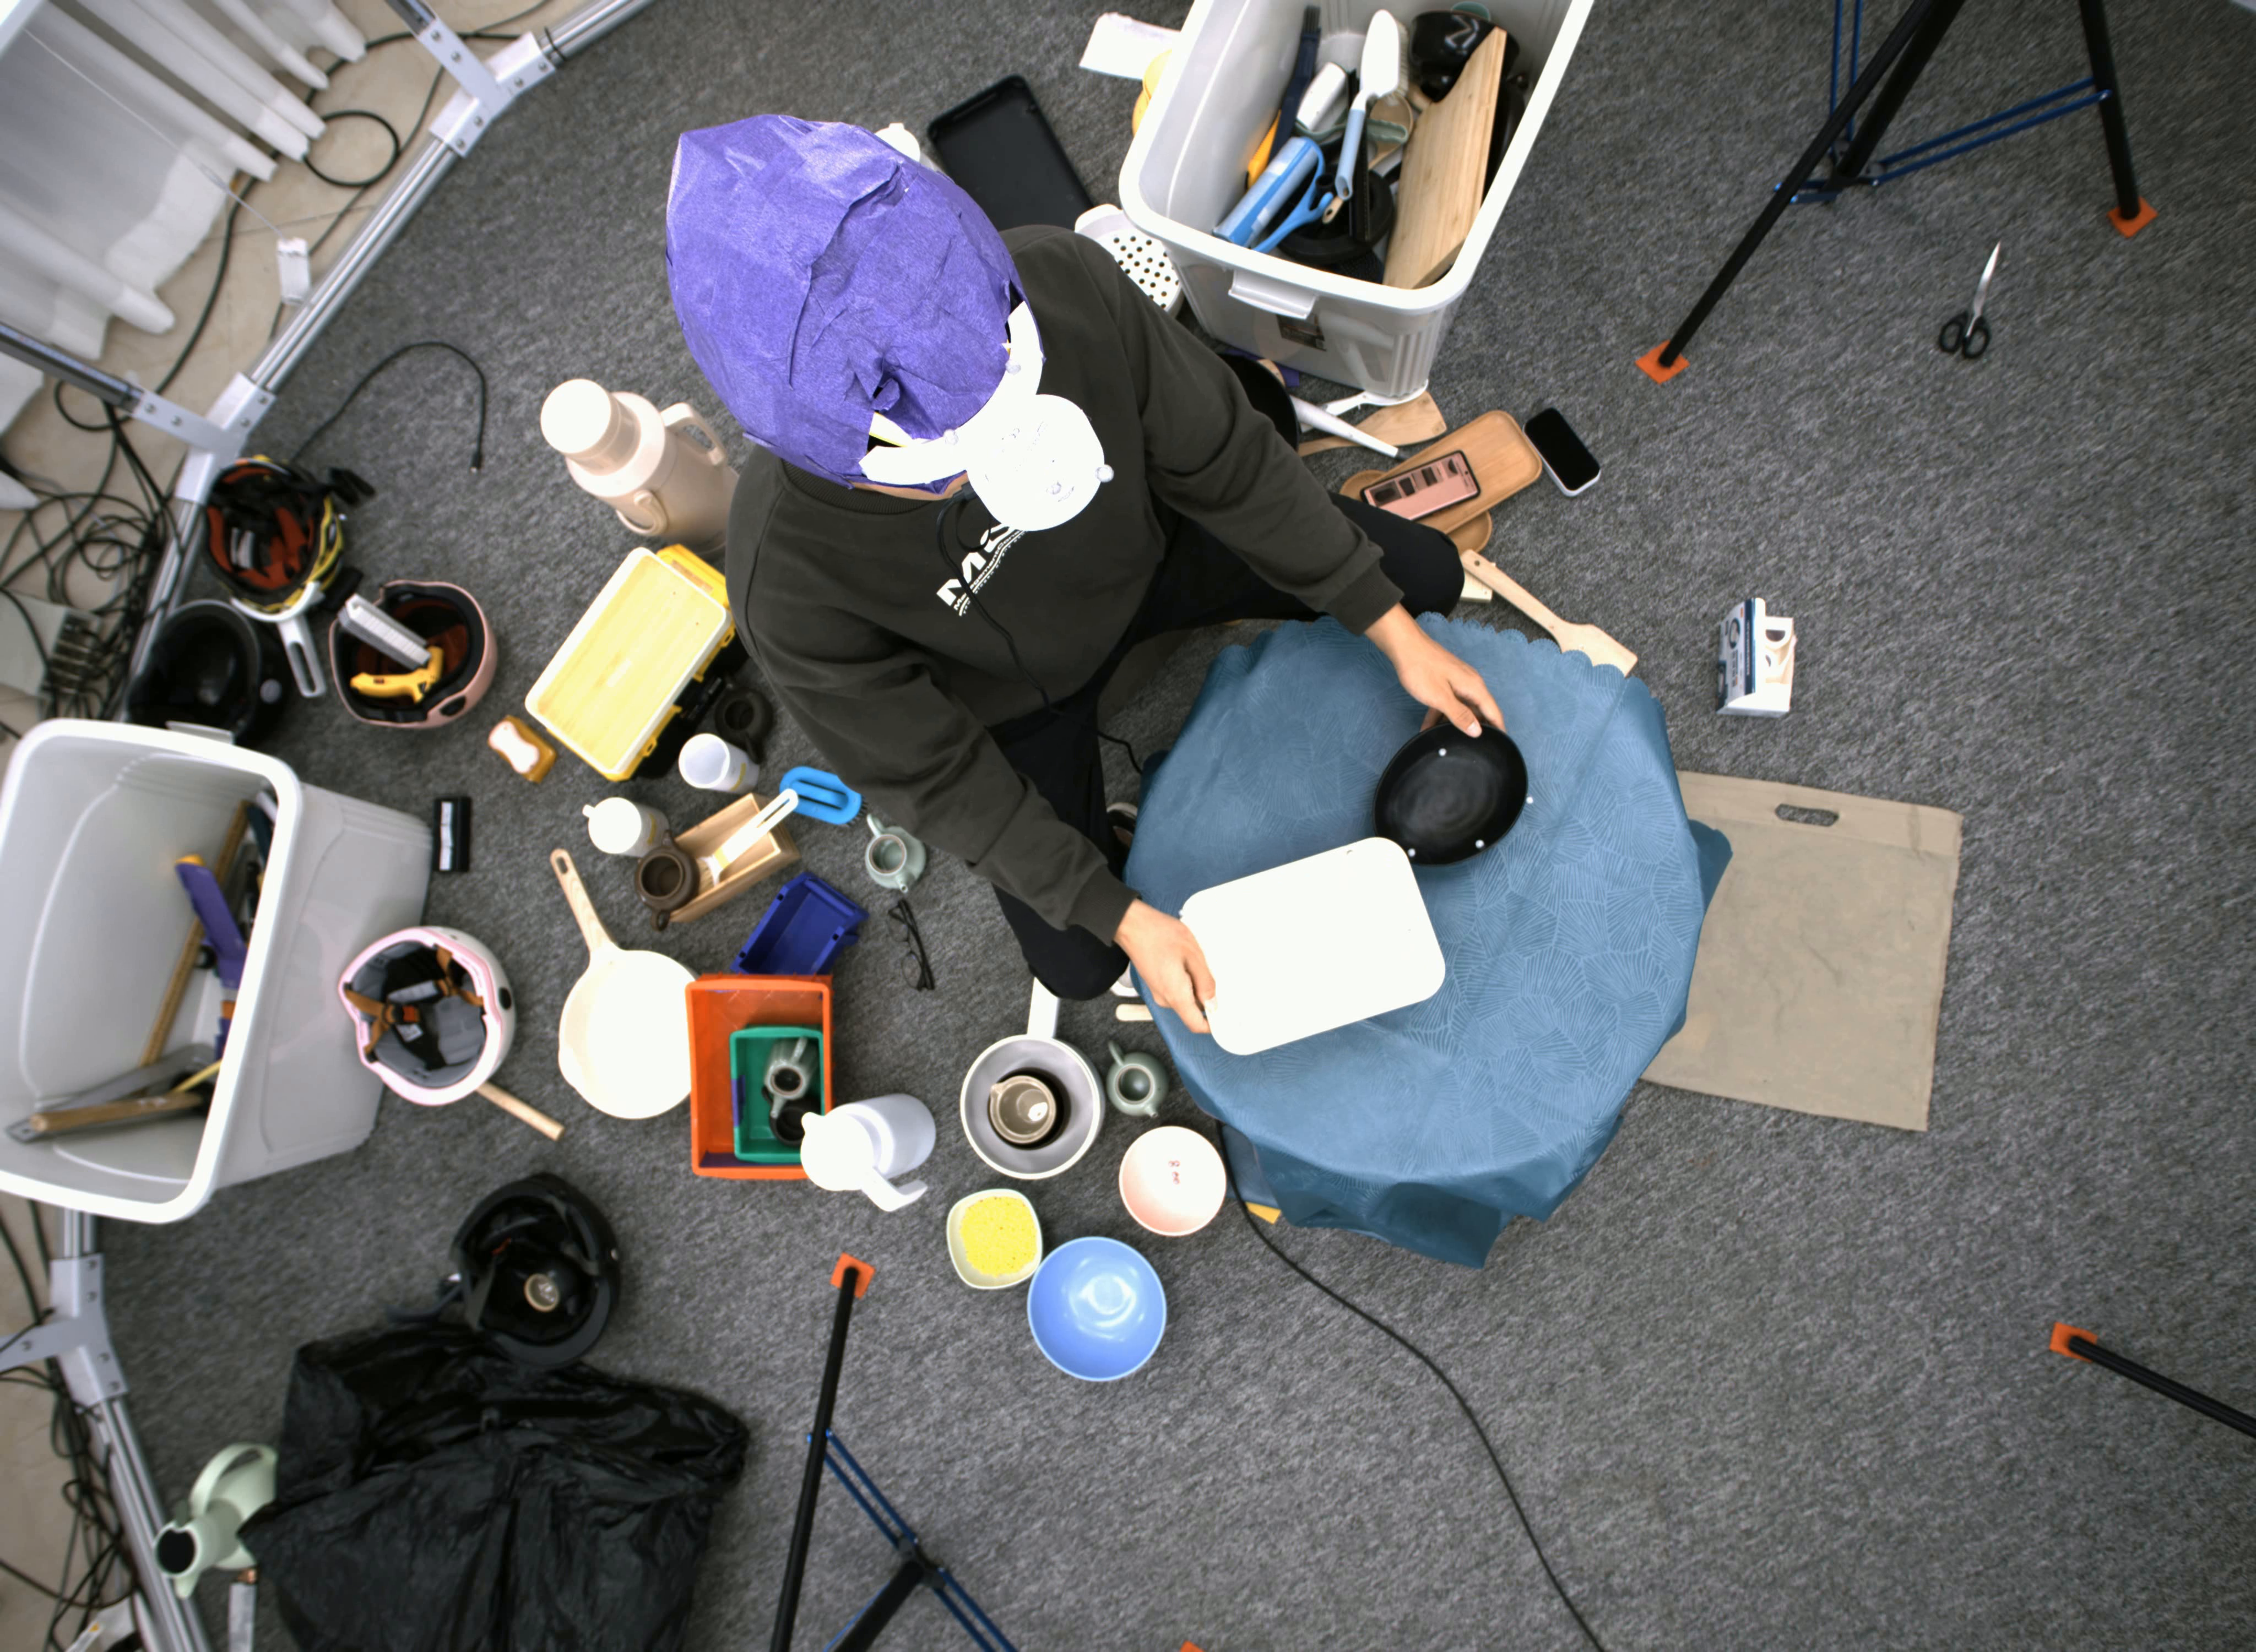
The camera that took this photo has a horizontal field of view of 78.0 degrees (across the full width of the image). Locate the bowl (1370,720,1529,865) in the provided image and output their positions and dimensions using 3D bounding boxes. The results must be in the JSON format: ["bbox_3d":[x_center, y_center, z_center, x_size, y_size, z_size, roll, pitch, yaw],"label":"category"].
[{"bbox_3d":[0.332,-0.031,1.423,0.171,0.066,0.136,-41,79,8],"label":"bowl"}]

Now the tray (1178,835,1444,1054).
[{"bbox_3d":[0.181,0.117,1.382,0.240,0.017,0.169,-18,79,4],"label":"tray"}]
